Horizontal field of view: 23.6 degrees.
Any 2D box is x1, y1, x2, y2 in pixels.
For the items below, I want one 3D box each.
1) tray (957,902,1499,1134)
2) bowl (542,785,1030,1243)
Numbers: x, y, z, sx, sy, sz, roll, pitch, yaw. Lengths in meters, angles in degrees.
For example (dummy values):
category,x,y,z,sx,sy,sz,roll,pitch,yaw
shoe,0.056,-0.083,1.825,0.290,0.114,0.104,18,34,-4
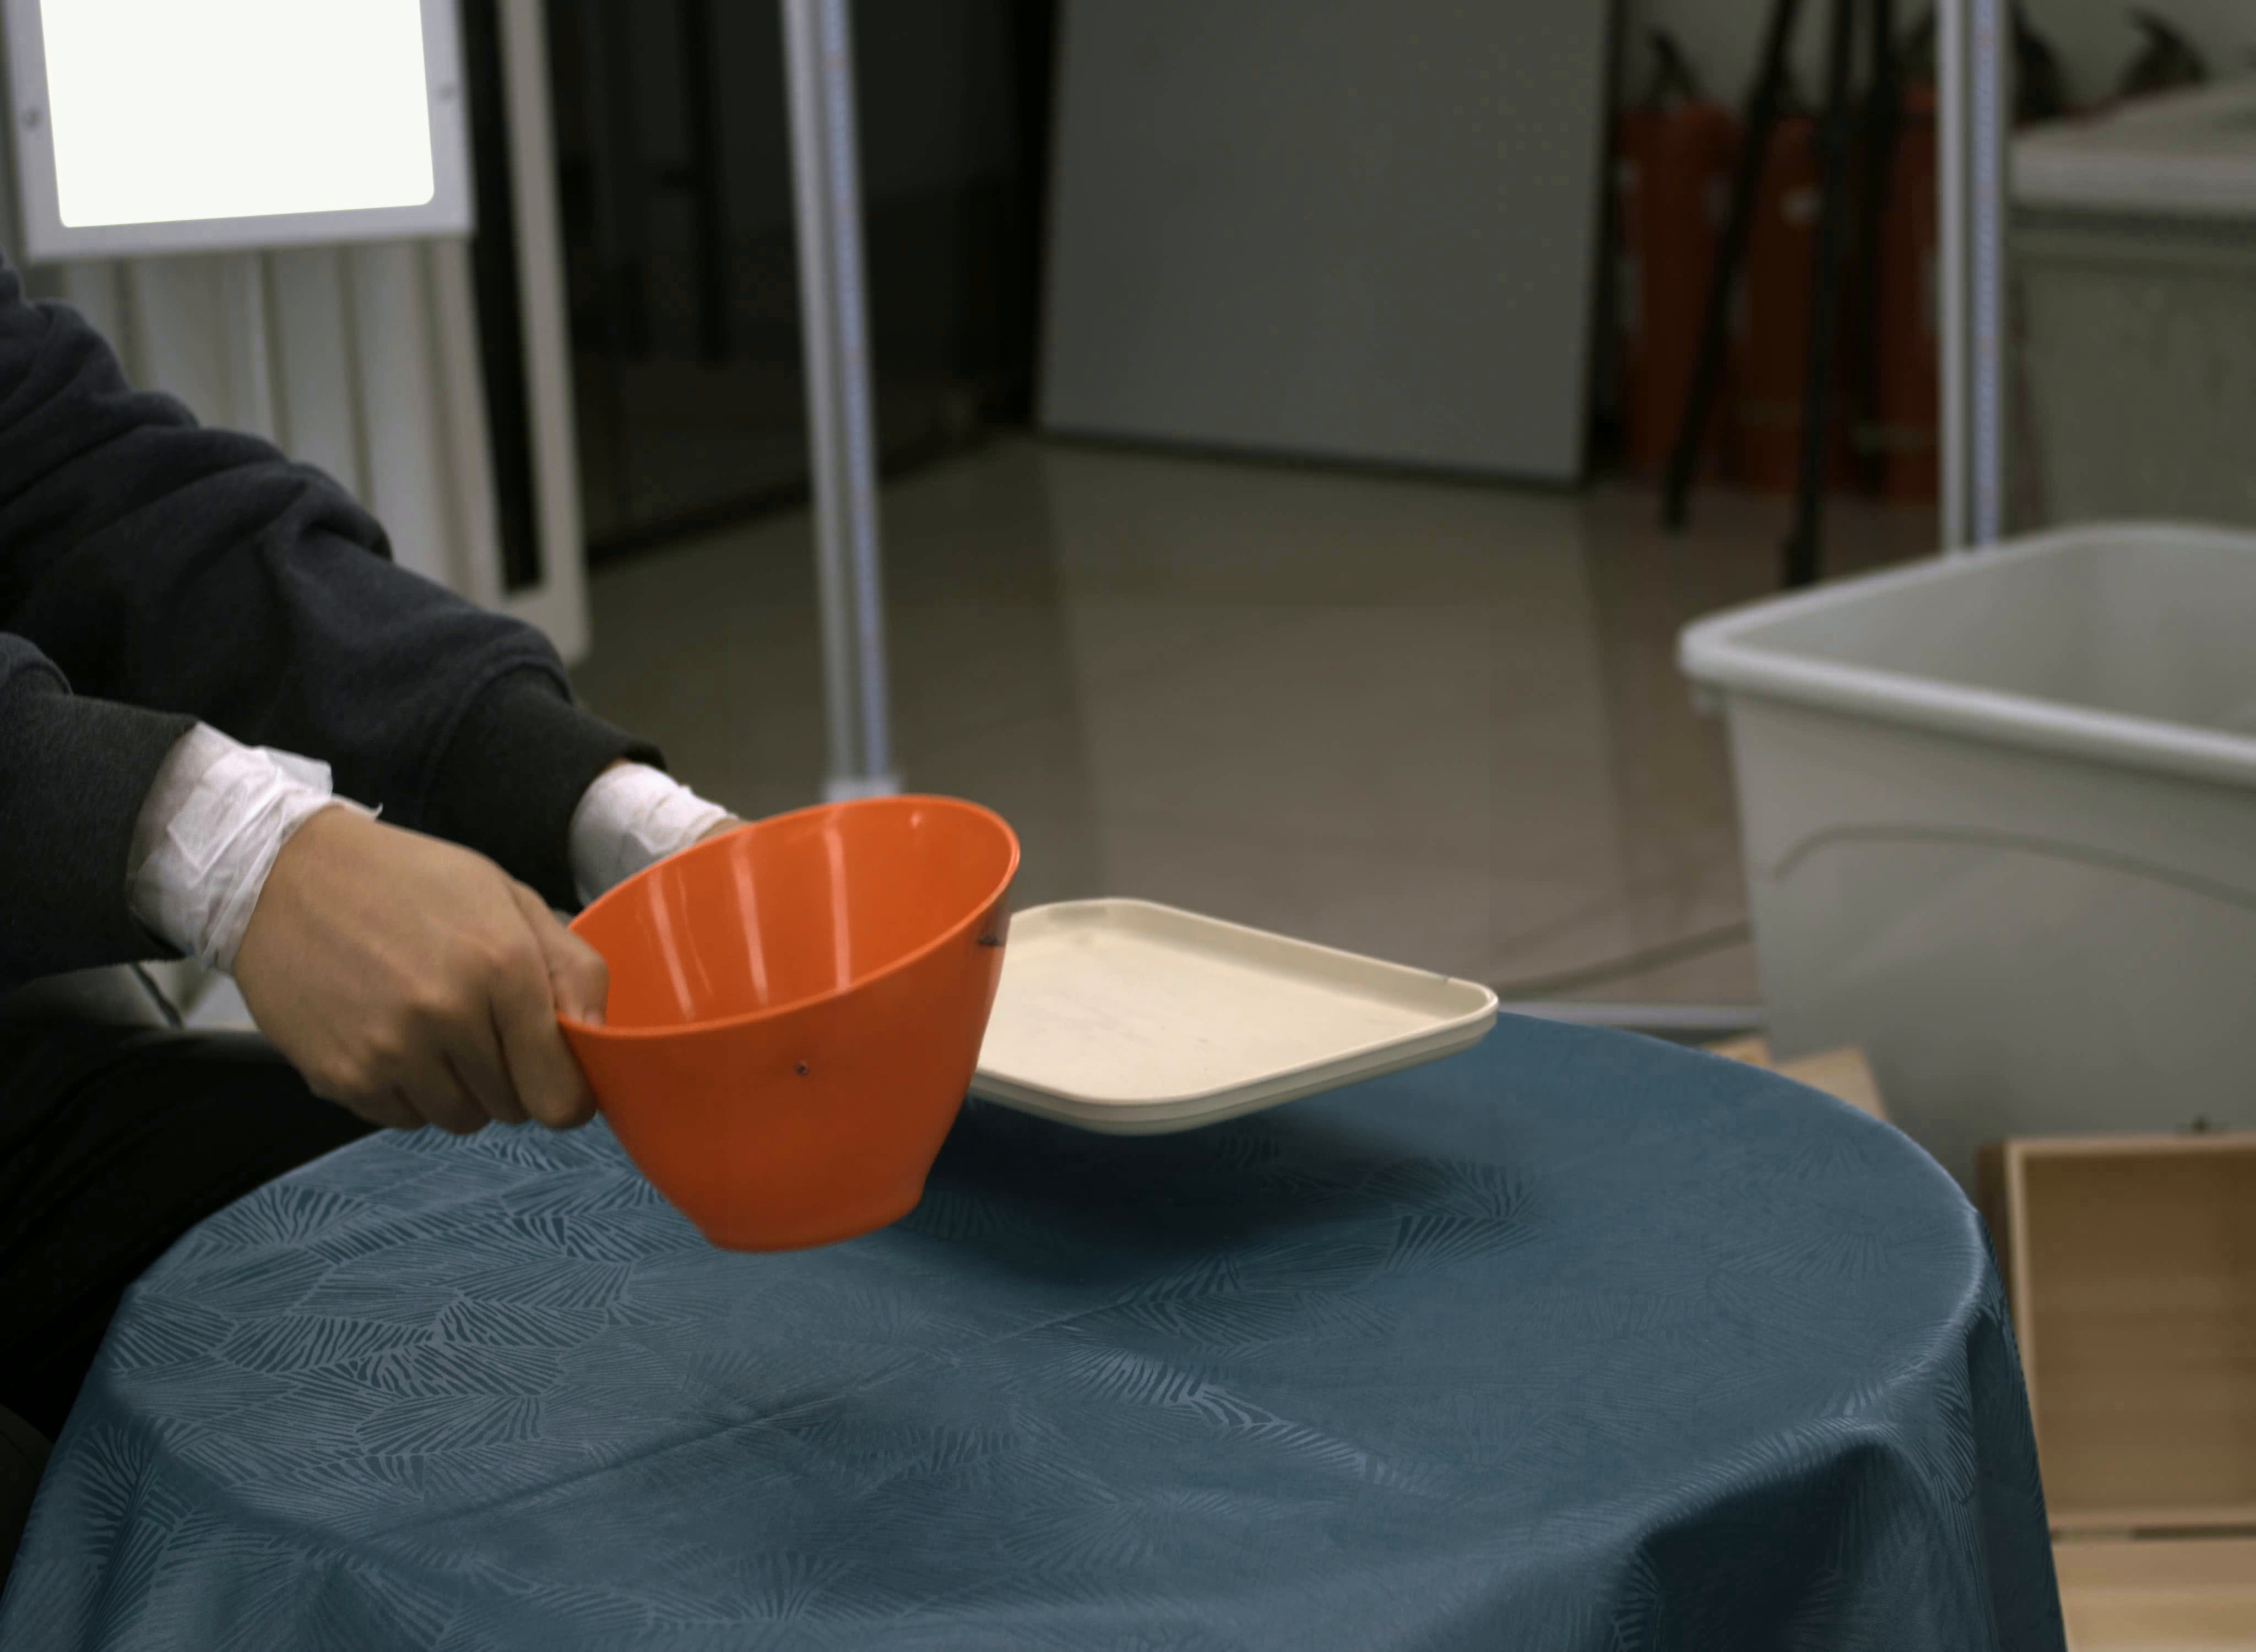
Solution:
category,x,y,z,sx,sy,sz,roll,pitch,yaw
tray,-0.003,0.063,1.799,0.167,0.017,0.242,-14,15,-34
bowl,-0.094,0.059,1.587,0.146,0.105,0.148,-9,14,1
